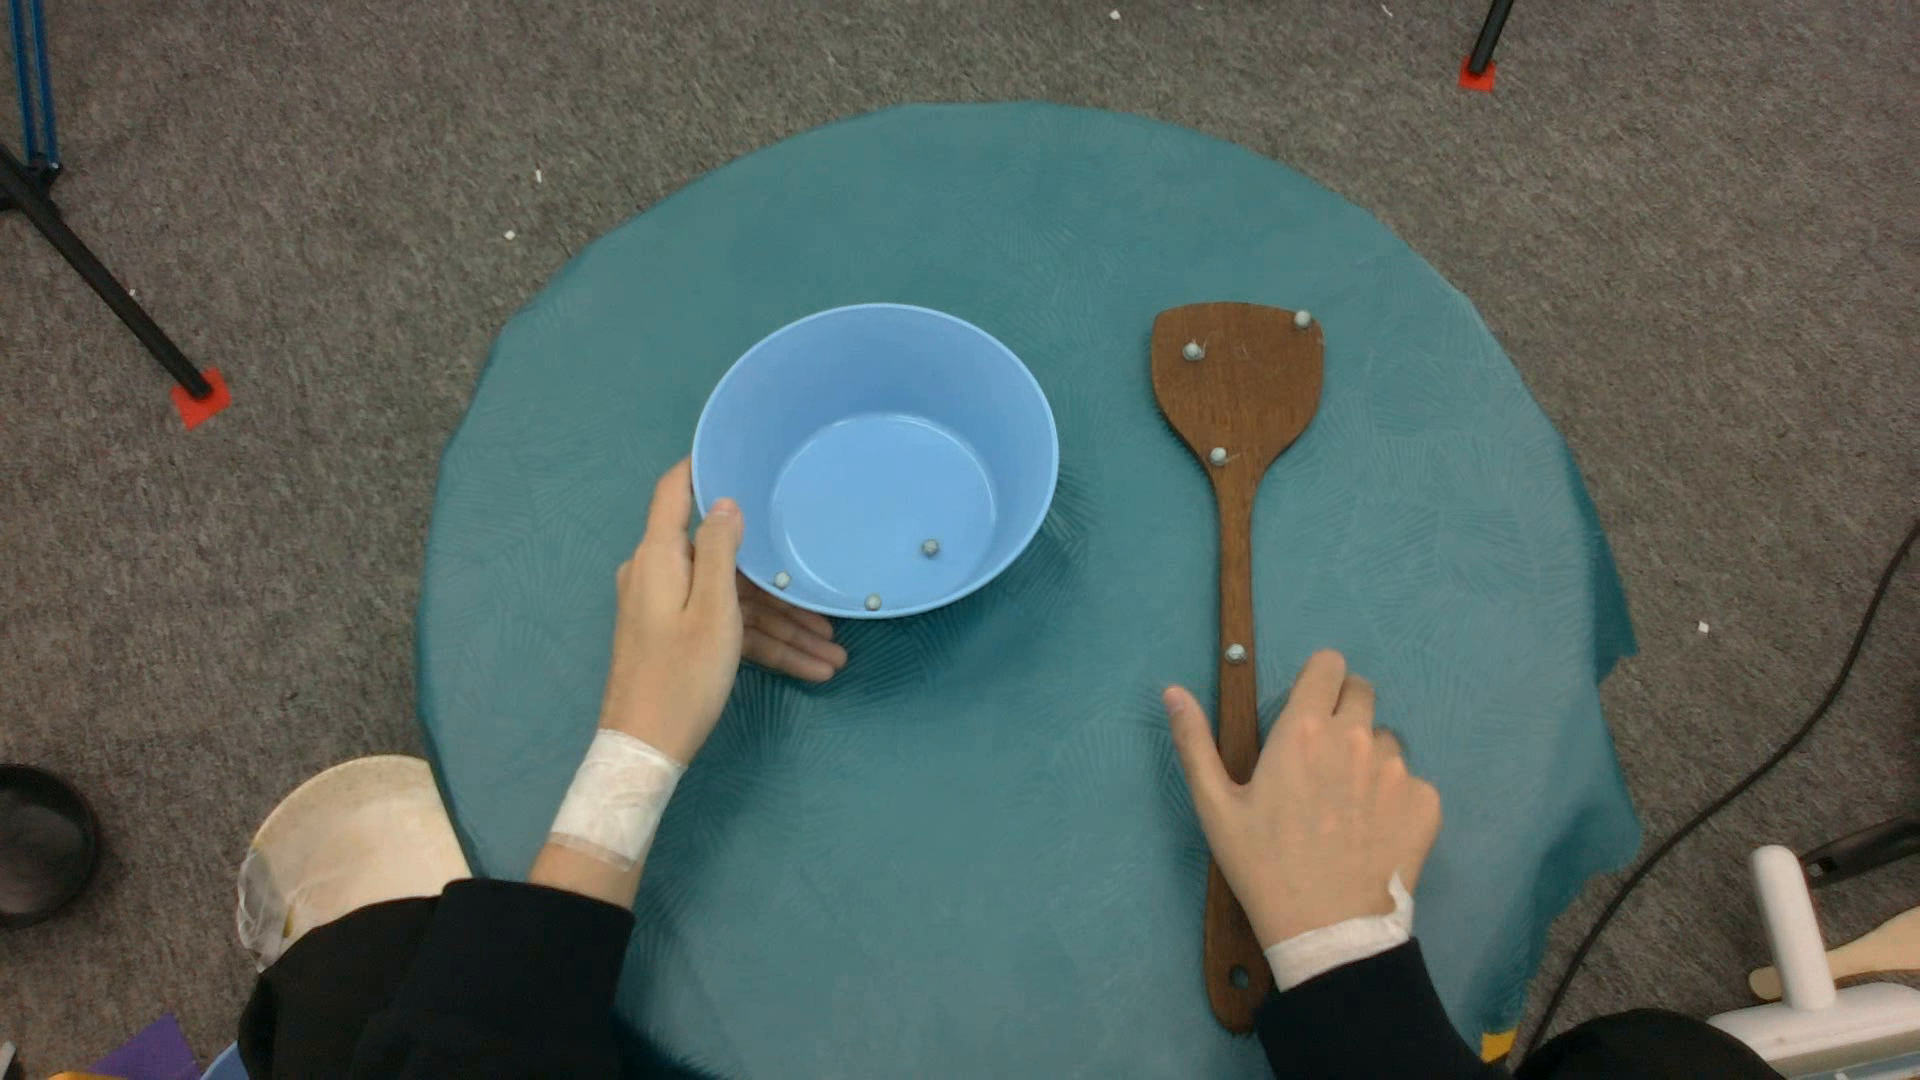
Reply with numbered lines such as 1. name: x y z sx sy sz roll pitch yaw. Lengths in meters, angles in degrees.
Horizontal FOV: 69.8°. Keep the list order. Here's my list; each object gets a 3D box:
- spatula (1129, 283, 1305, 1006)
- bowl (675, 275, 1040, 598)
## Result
1. spatula: 0.128 0.030 0.685 0.096 0.016 0.387 4 63 2
2. bowl: -0.049 -0.041 0.688 0.176 0.070 0.176 0 65 0
